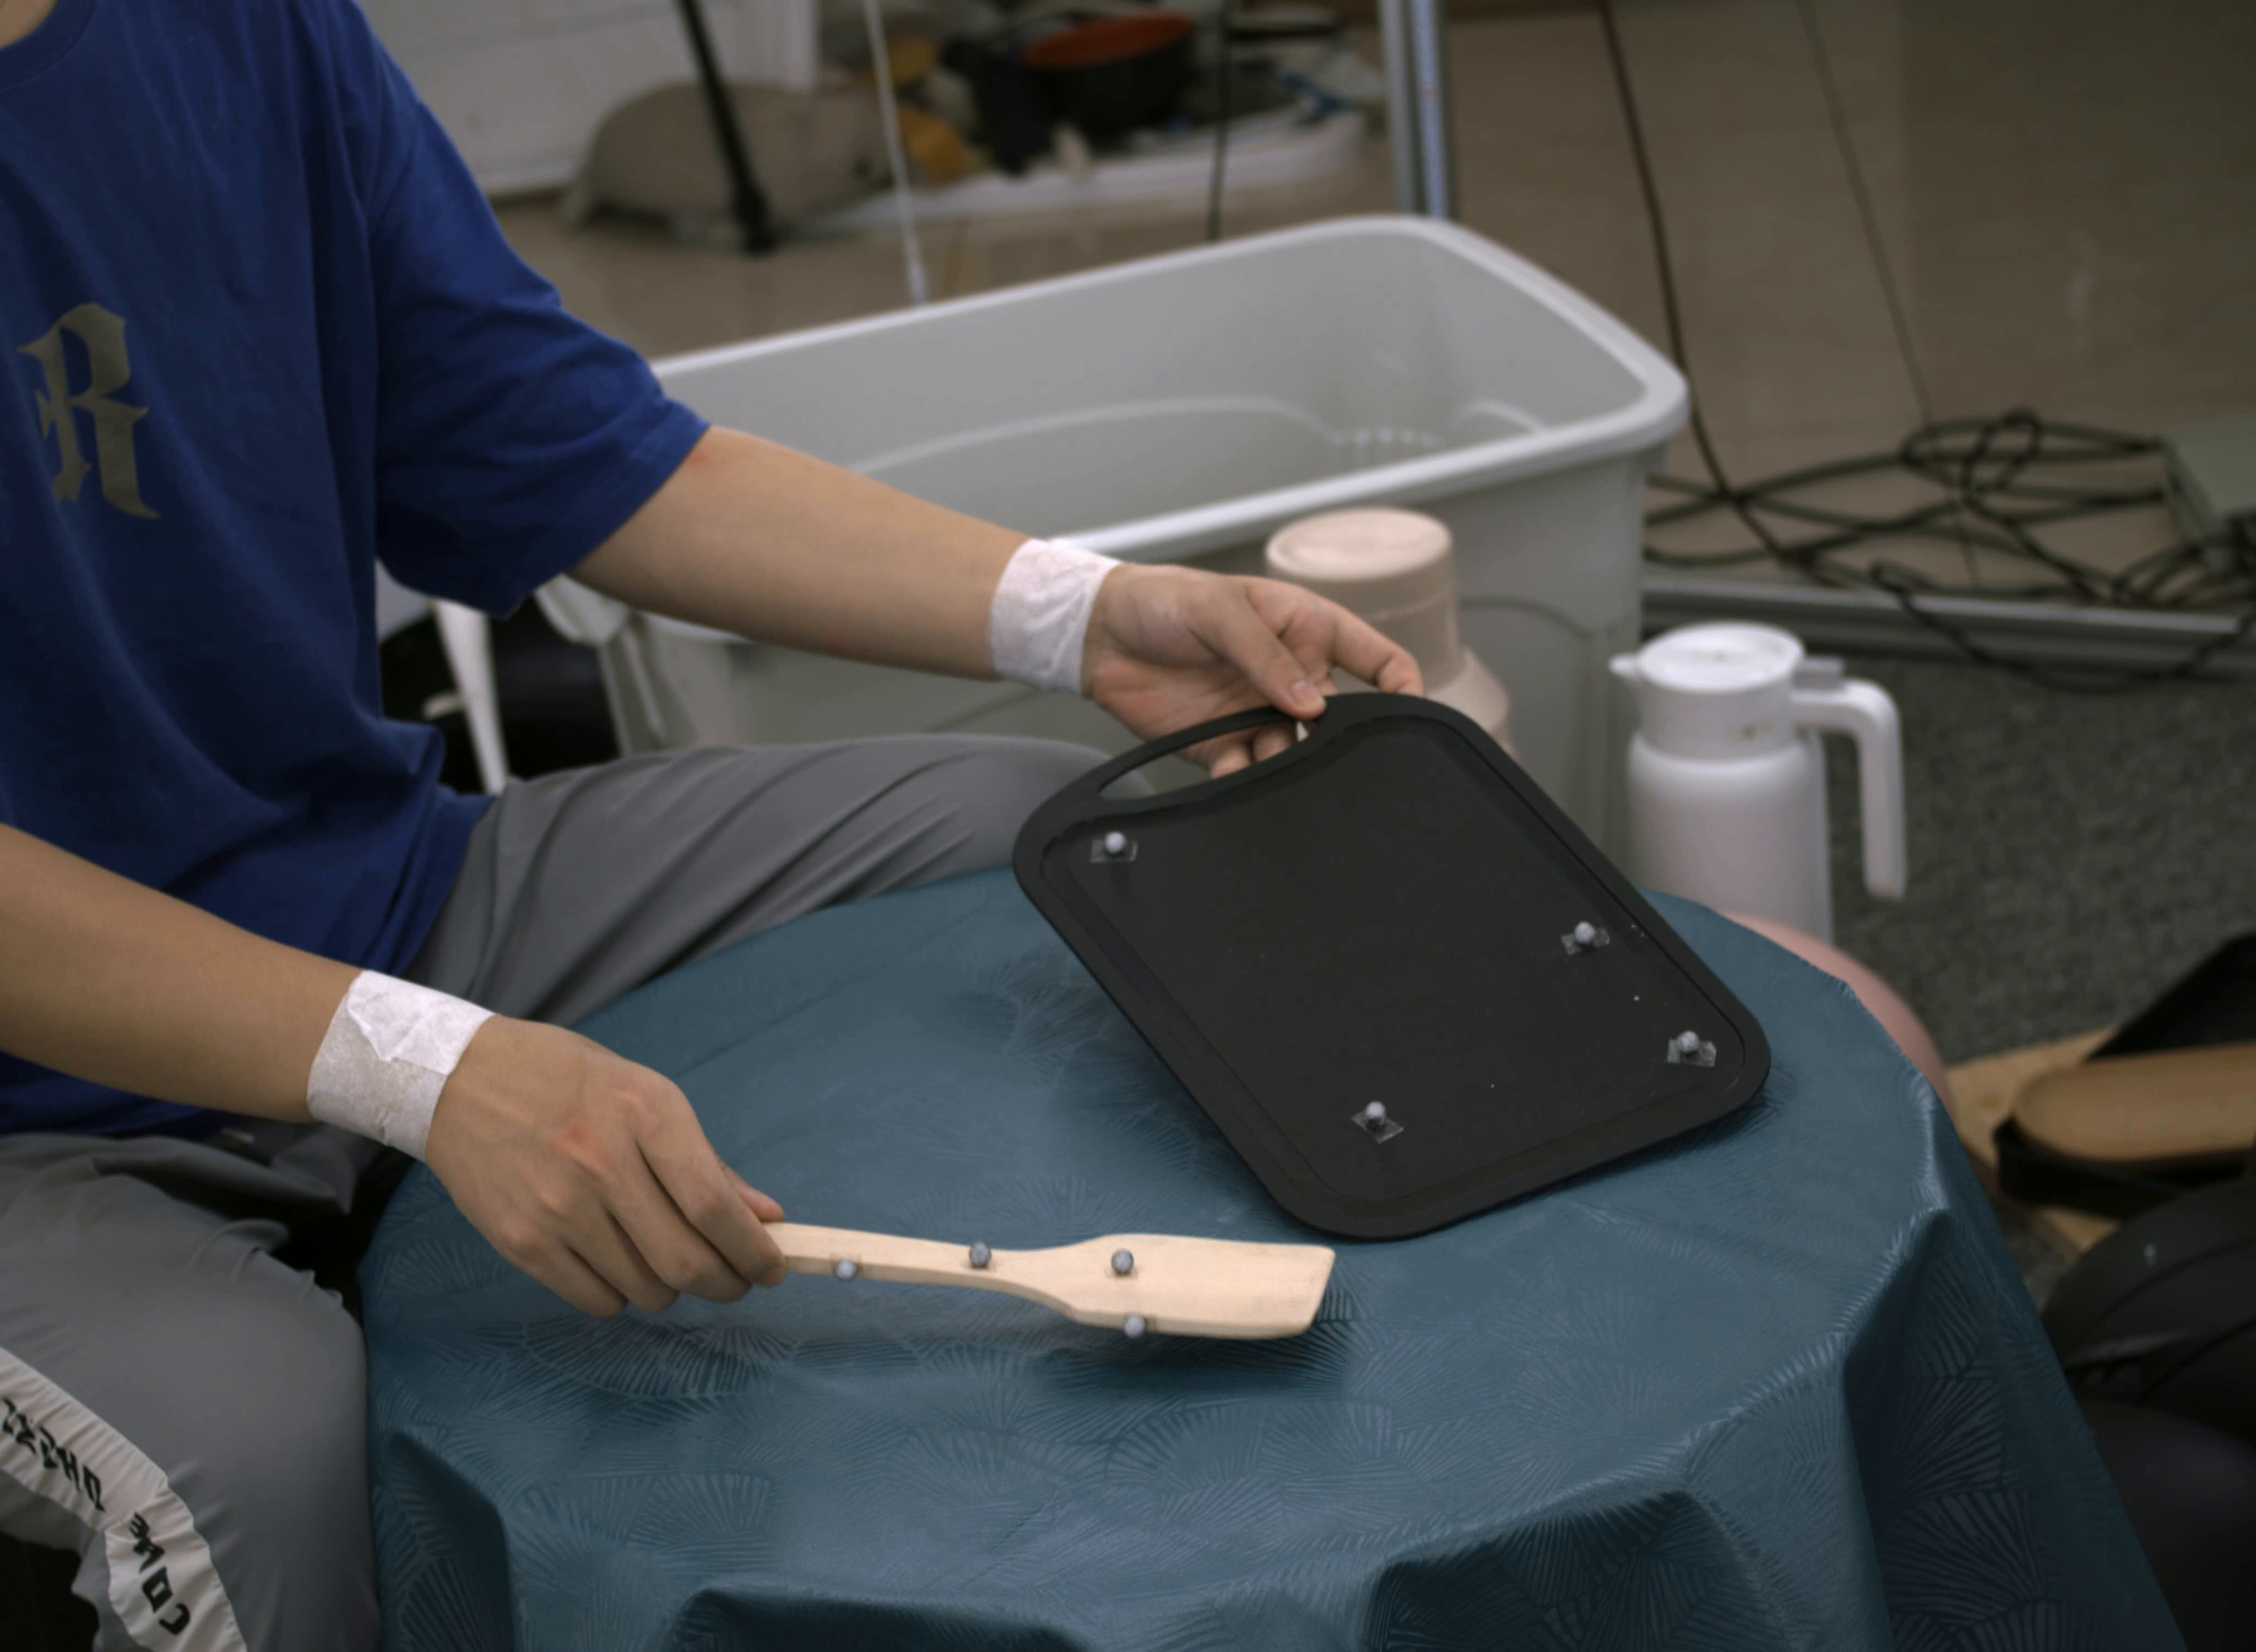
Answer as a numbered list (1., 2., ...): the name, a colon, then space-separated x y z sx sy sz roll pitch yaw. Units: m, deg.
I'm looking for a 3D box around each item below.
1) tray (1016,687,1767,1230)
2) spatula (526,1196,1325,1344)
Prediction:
1. tray: 0.094 0.042 2.226 0.210 0.010 0.320 -19 41 -18
2. spatula: -0.076 0.157 2.056 0.292 0.011 0.071 5 23 9
